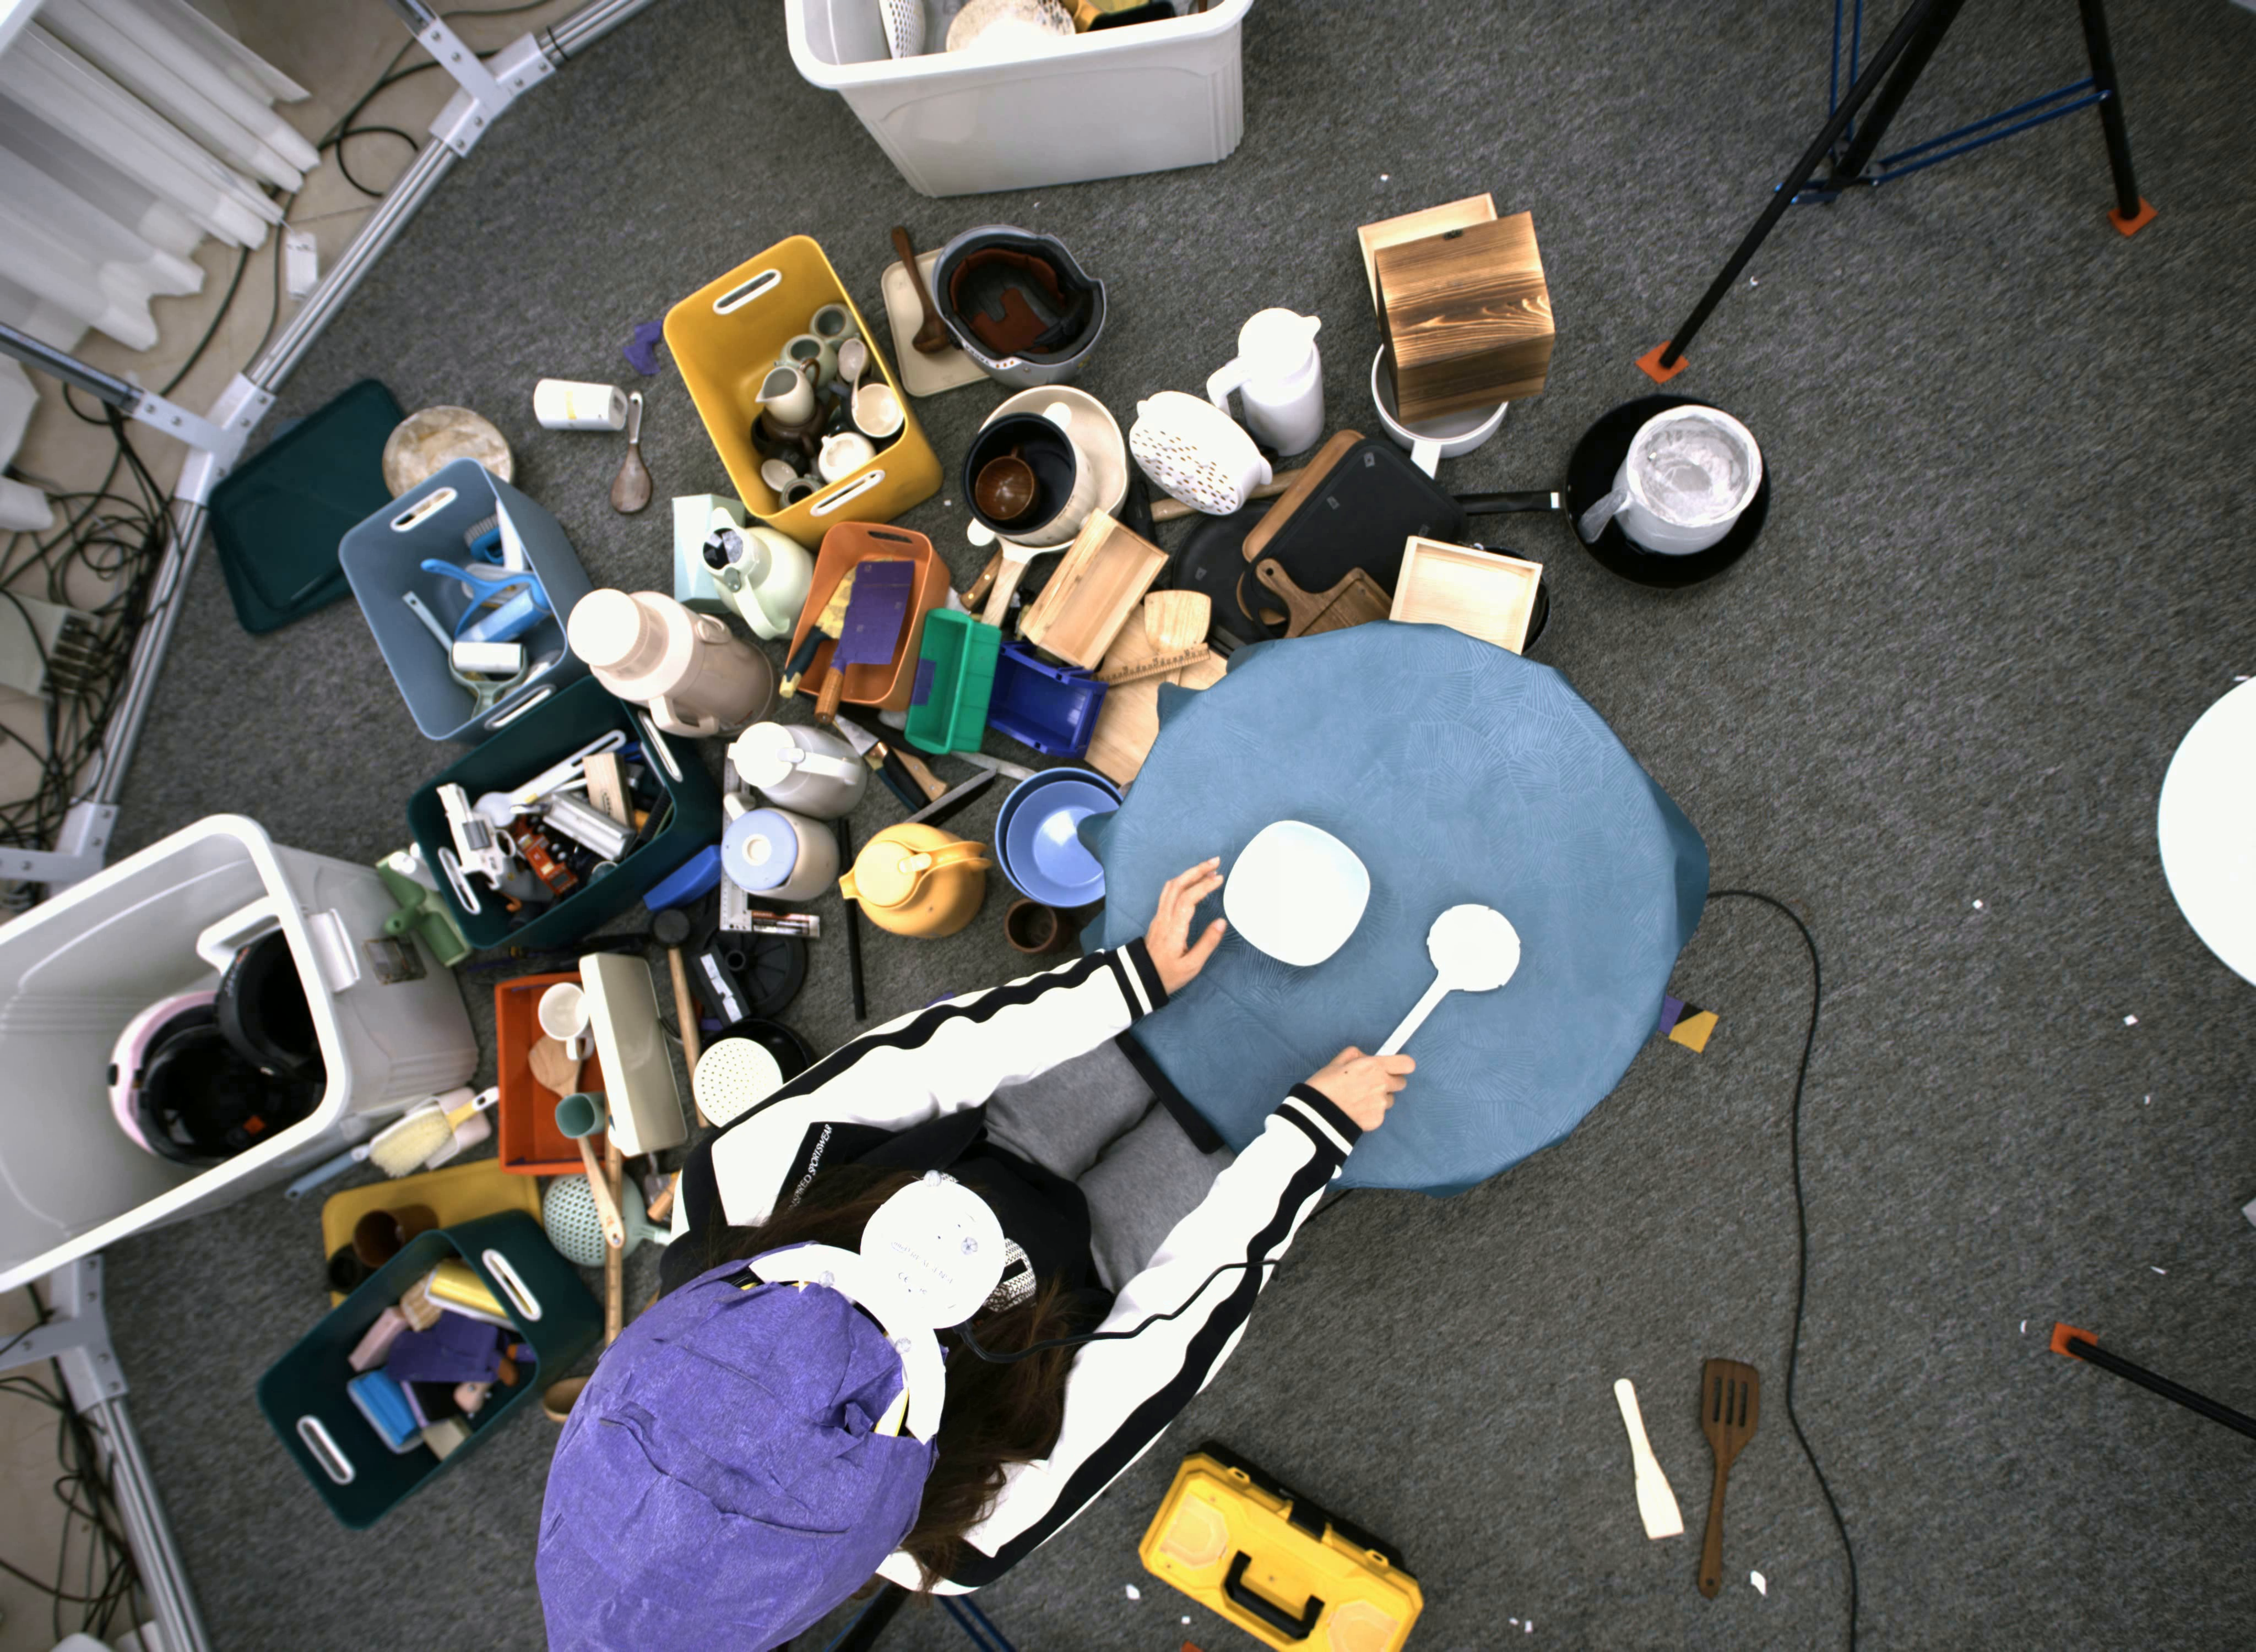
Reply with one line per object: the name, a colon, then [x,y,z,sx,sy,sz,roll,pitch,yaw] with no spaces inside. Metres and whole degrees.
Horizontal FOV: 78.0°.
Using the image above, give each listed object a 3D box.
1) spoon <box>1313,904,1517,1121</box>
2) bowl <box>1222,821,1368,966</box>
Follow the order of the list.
spoon: [0.282,0.193,1.414,0.277,0.060,0.100,-46,73,-2]
bowl: [0.176,0.071,1.451,0.152,0.058,0.151,-1,86,10]
